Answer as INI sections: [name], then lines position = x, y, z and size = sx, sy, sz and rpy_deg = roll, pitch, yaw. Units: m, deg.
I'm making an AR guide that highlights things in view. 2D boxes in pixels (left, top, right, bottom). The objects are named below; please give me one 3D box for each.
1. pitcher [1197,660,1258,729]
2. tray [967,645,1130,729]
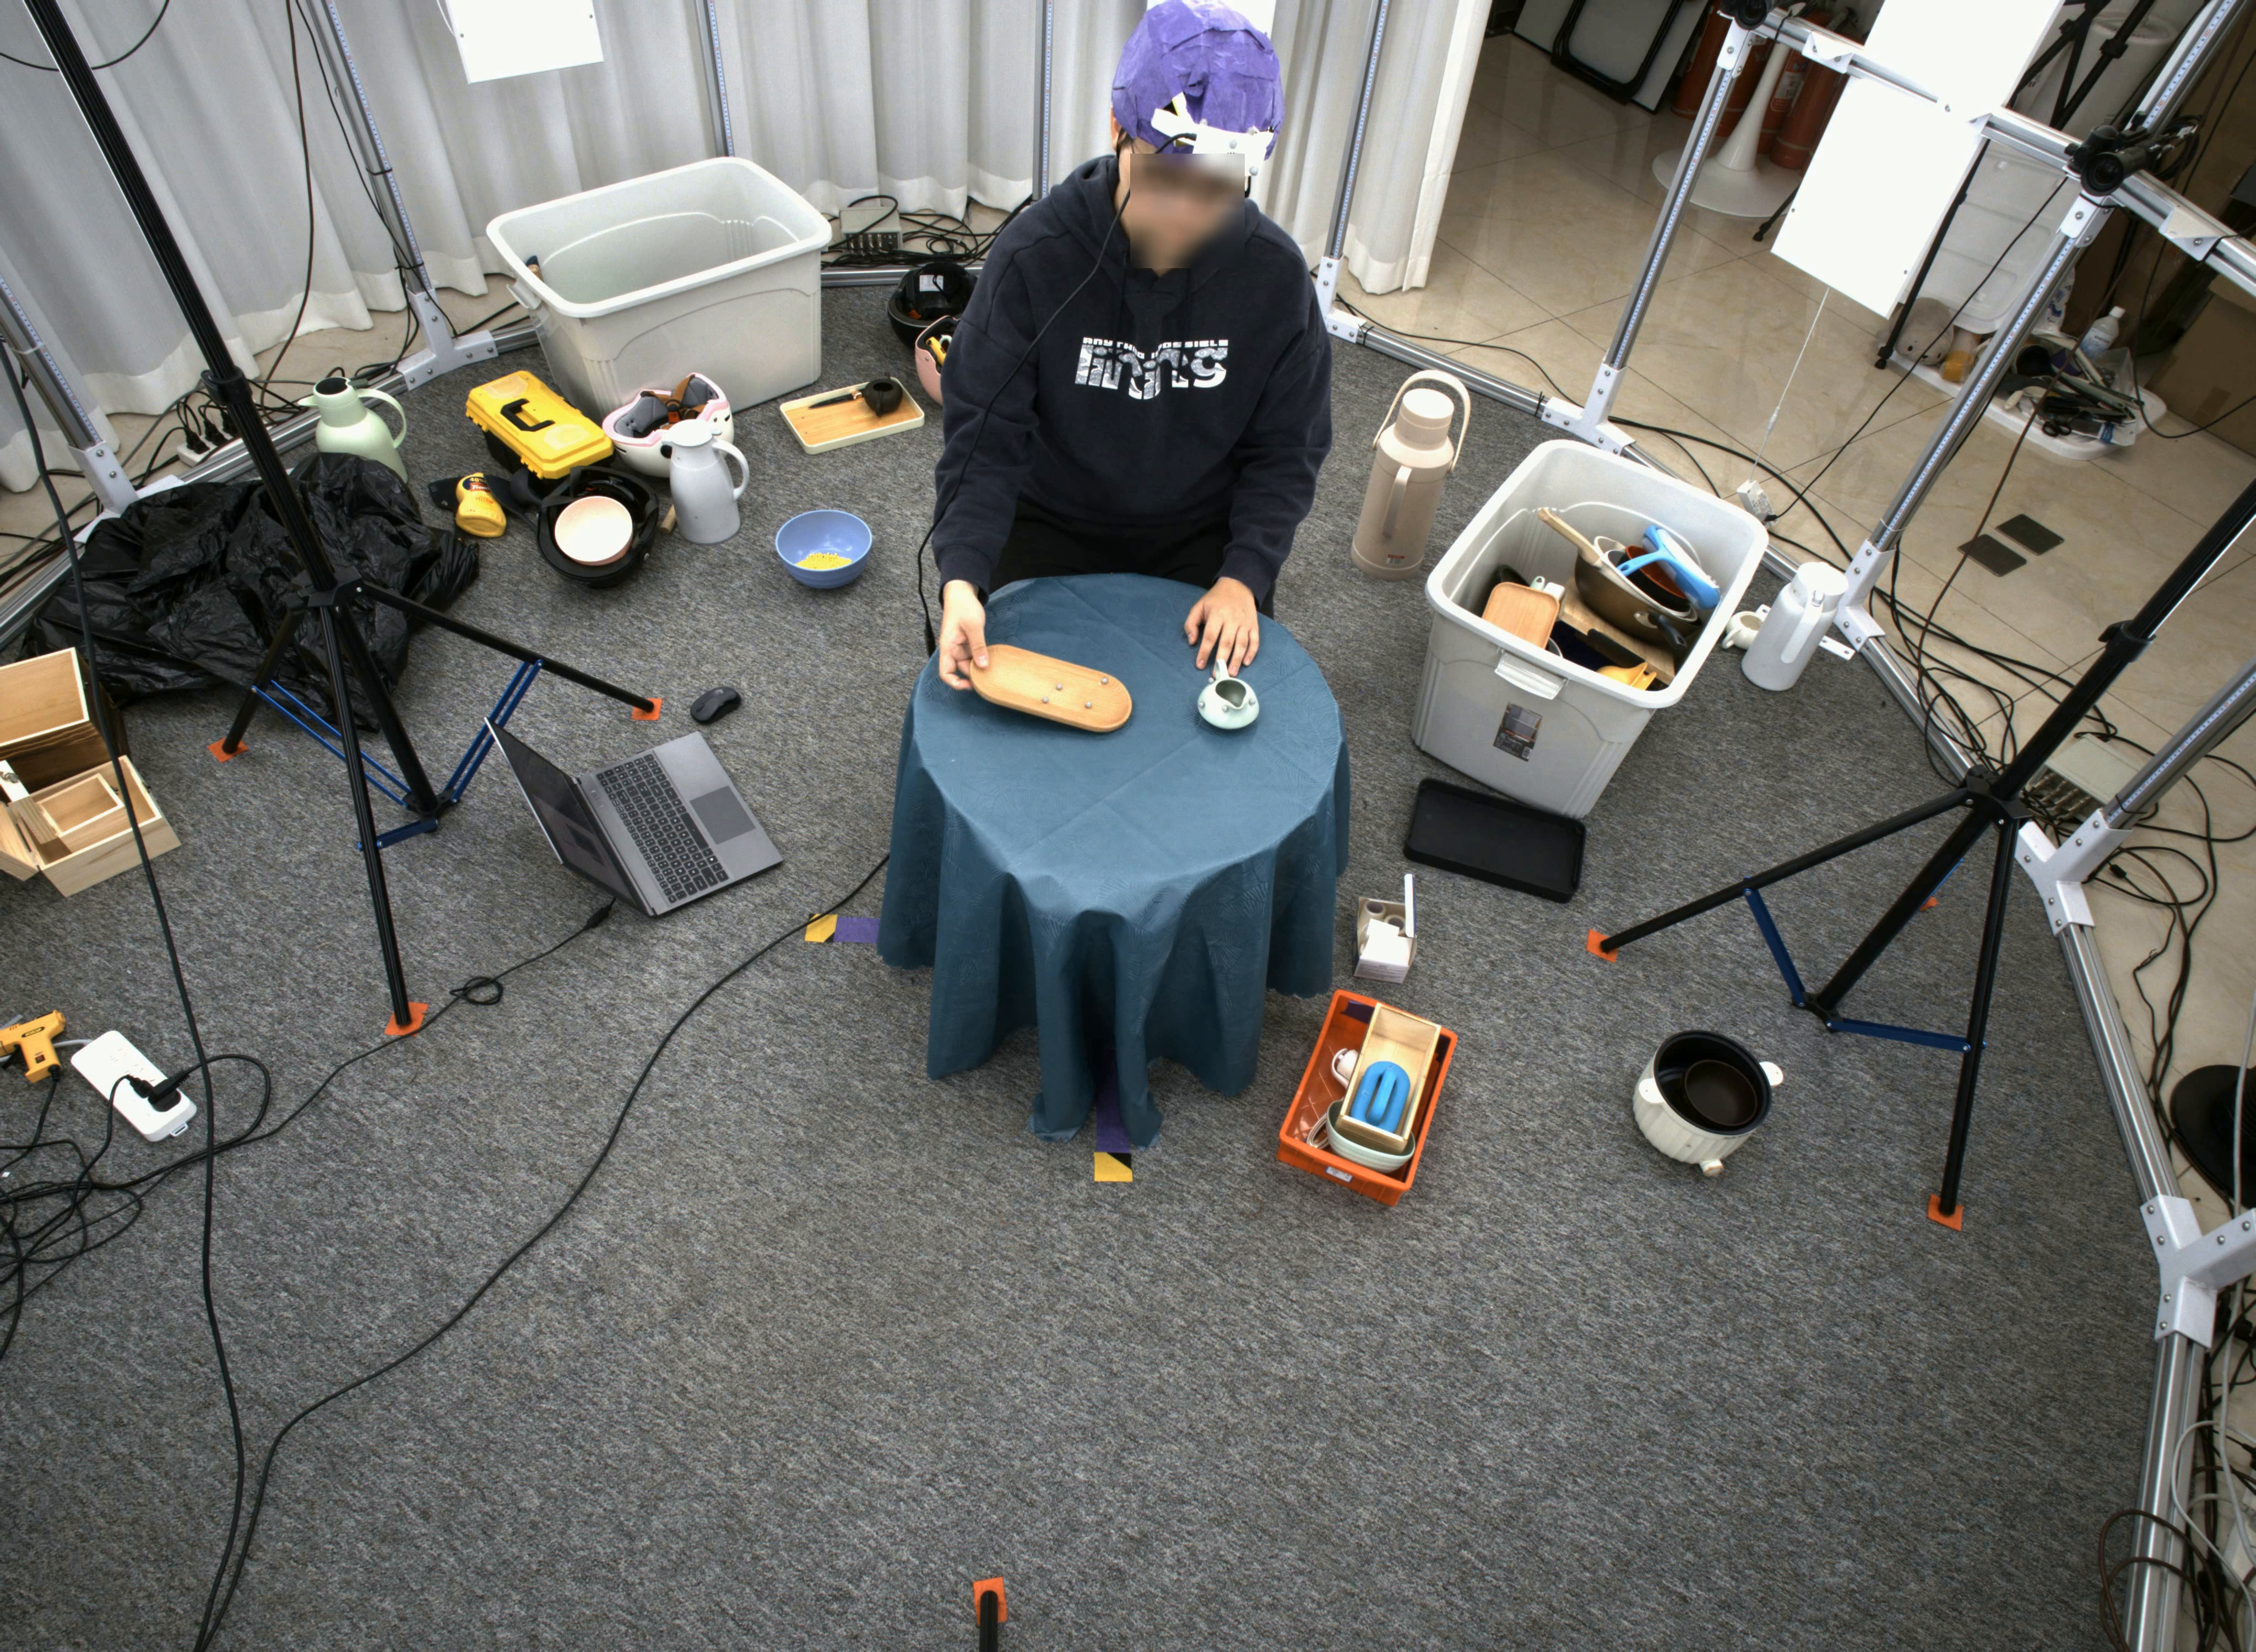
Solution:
[pitcher]
position = 0.138, -0.183, 1.799
size = 0.086, 0.059, 0.111
rpy_deg = -8, 48, -13
[tray]
position = -0.110, -0.192, 1.783
size = 0.230, 0.020, 0.104
rpy_deg = 14, 47, -6
